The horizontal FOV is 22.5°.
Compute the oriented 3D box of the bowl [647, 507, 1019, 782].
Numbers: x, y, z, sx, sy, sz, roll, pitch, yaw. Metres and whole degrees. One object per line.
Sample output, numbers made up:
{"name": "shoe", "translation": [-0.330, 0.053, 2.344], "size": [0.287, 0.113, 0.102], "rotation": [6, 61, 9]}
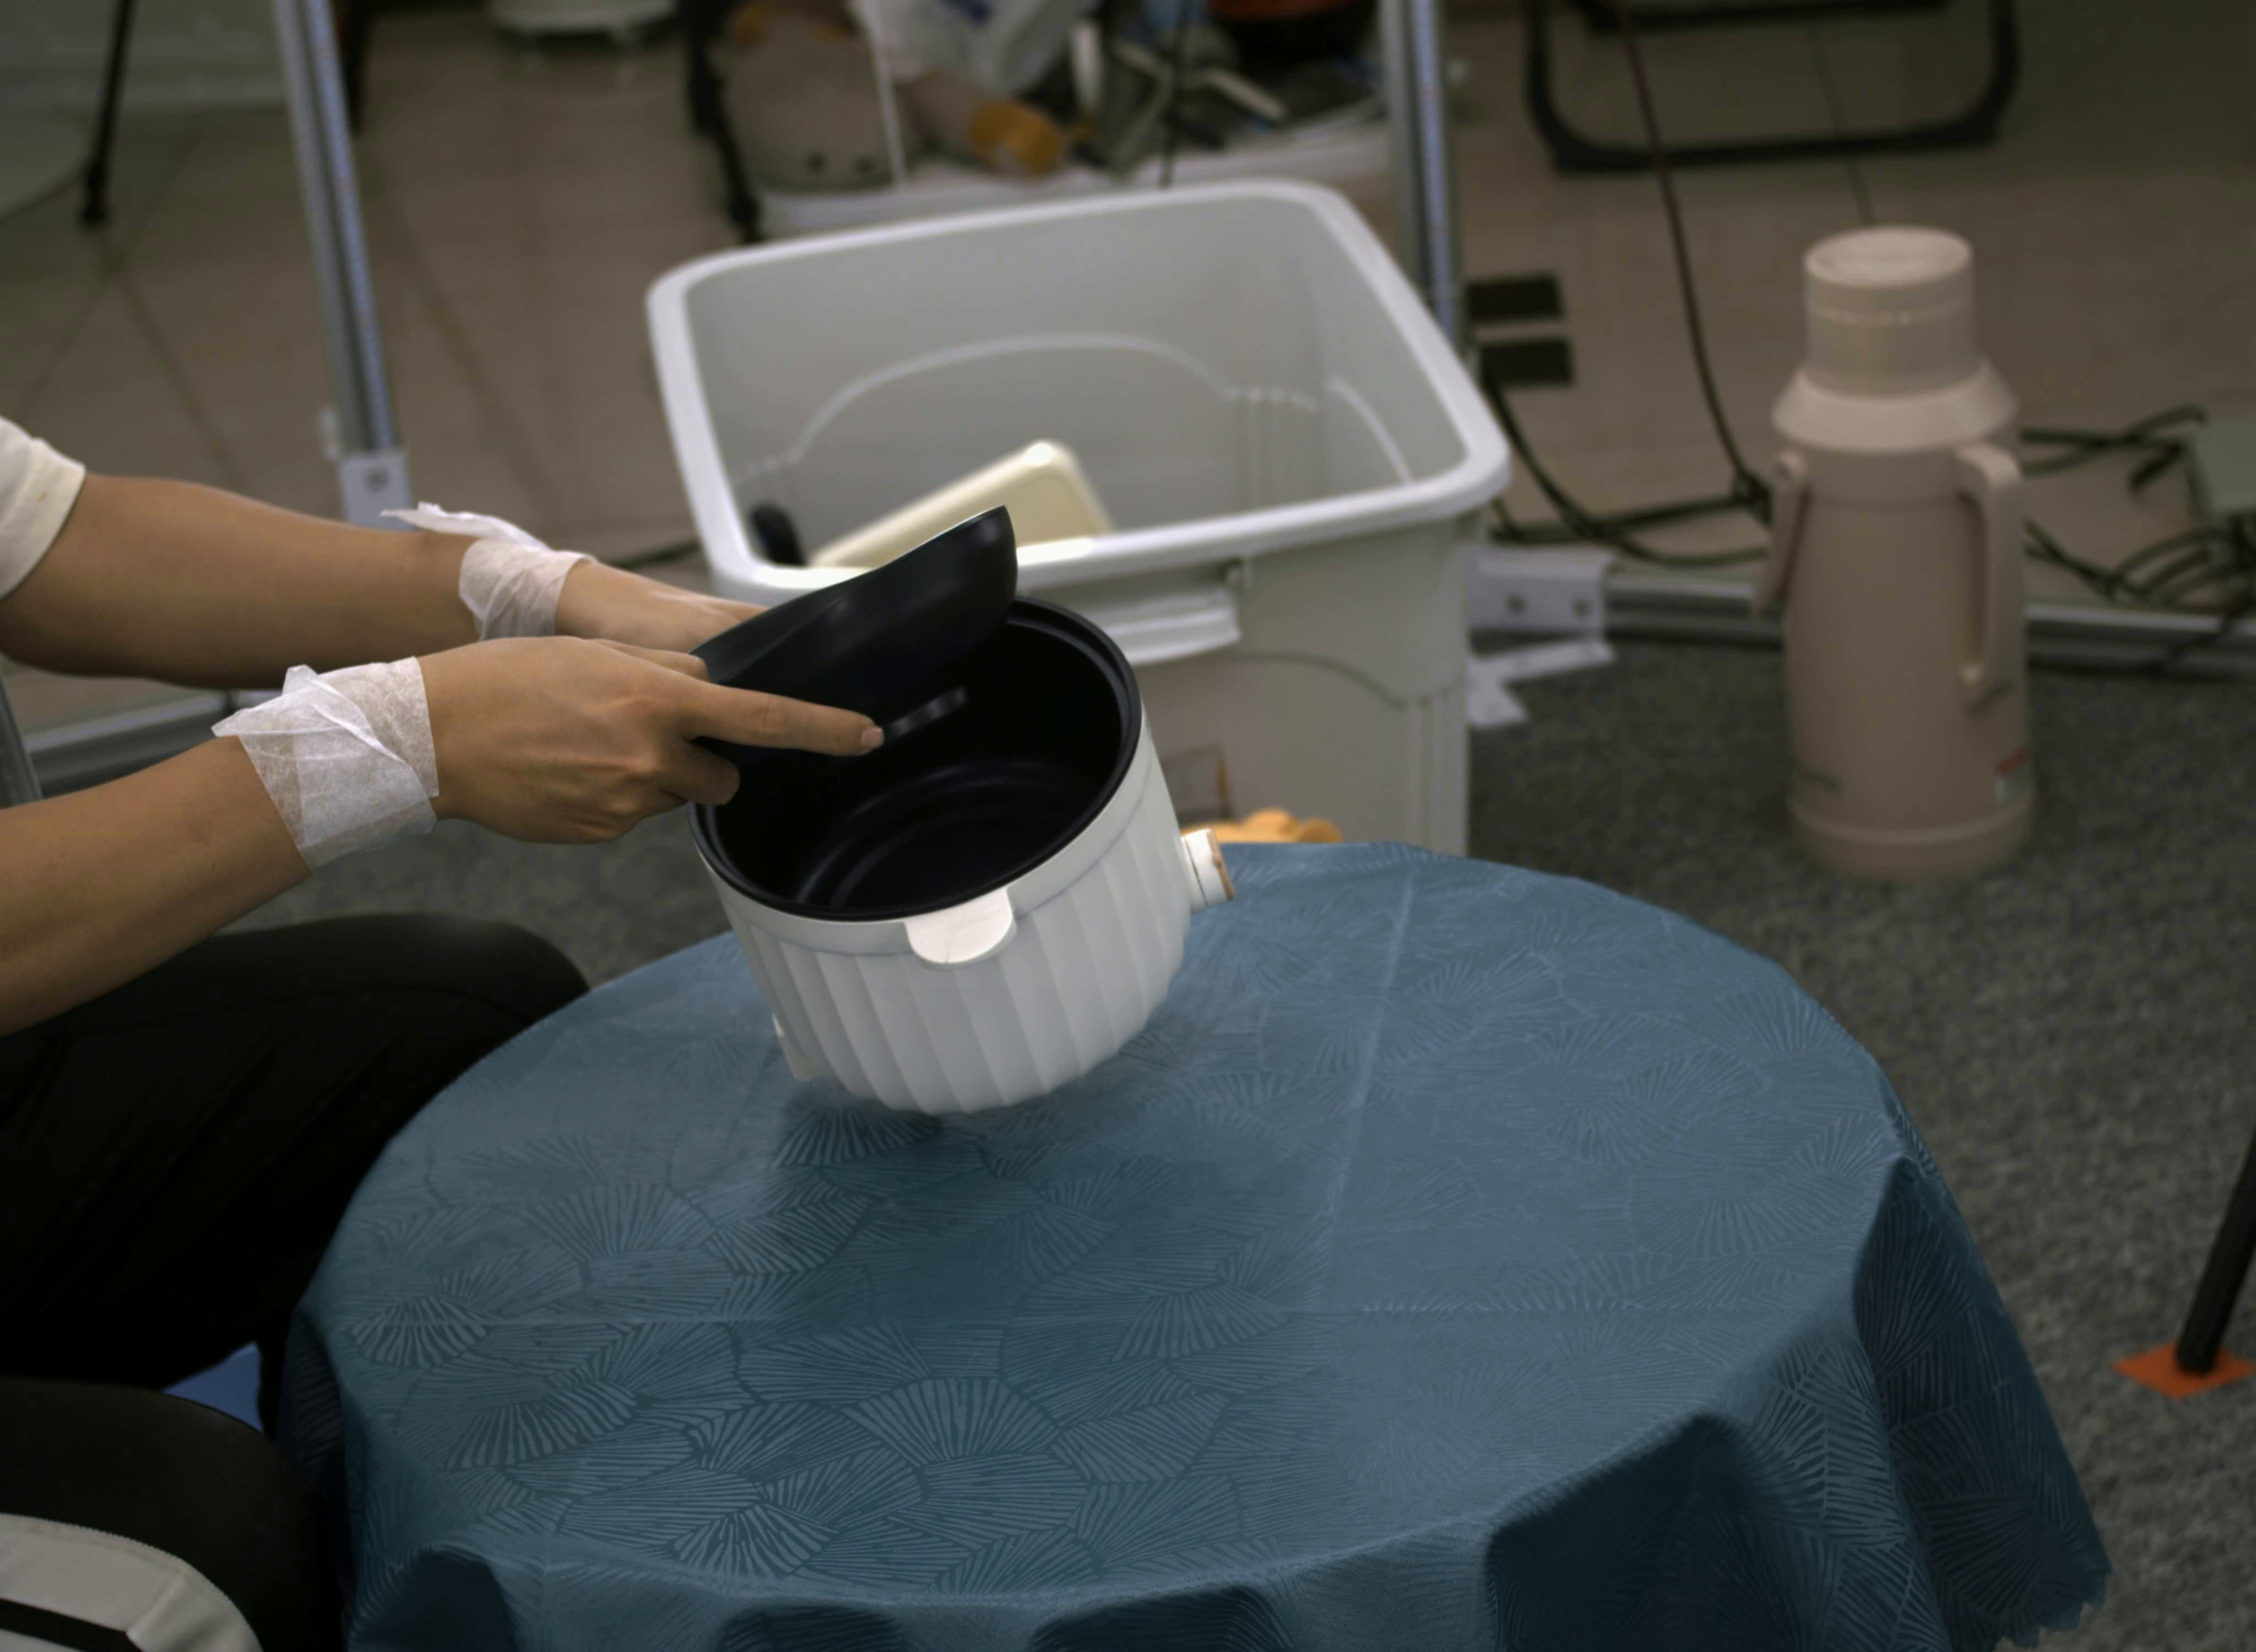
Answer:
{"name": "bowl", "translation": [-0.101, -0.061, 2.126], "size": [0.138, 0.067, 0.168], "rotation": [-22, 7, 41]}

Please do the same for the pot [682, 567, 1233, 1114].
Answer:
{"name": "pot", "translation": [-0.064, 0.014, 2.218], "size": [0.190, 0.145, 0.236], "rotation": [-21, 43, 2]}
